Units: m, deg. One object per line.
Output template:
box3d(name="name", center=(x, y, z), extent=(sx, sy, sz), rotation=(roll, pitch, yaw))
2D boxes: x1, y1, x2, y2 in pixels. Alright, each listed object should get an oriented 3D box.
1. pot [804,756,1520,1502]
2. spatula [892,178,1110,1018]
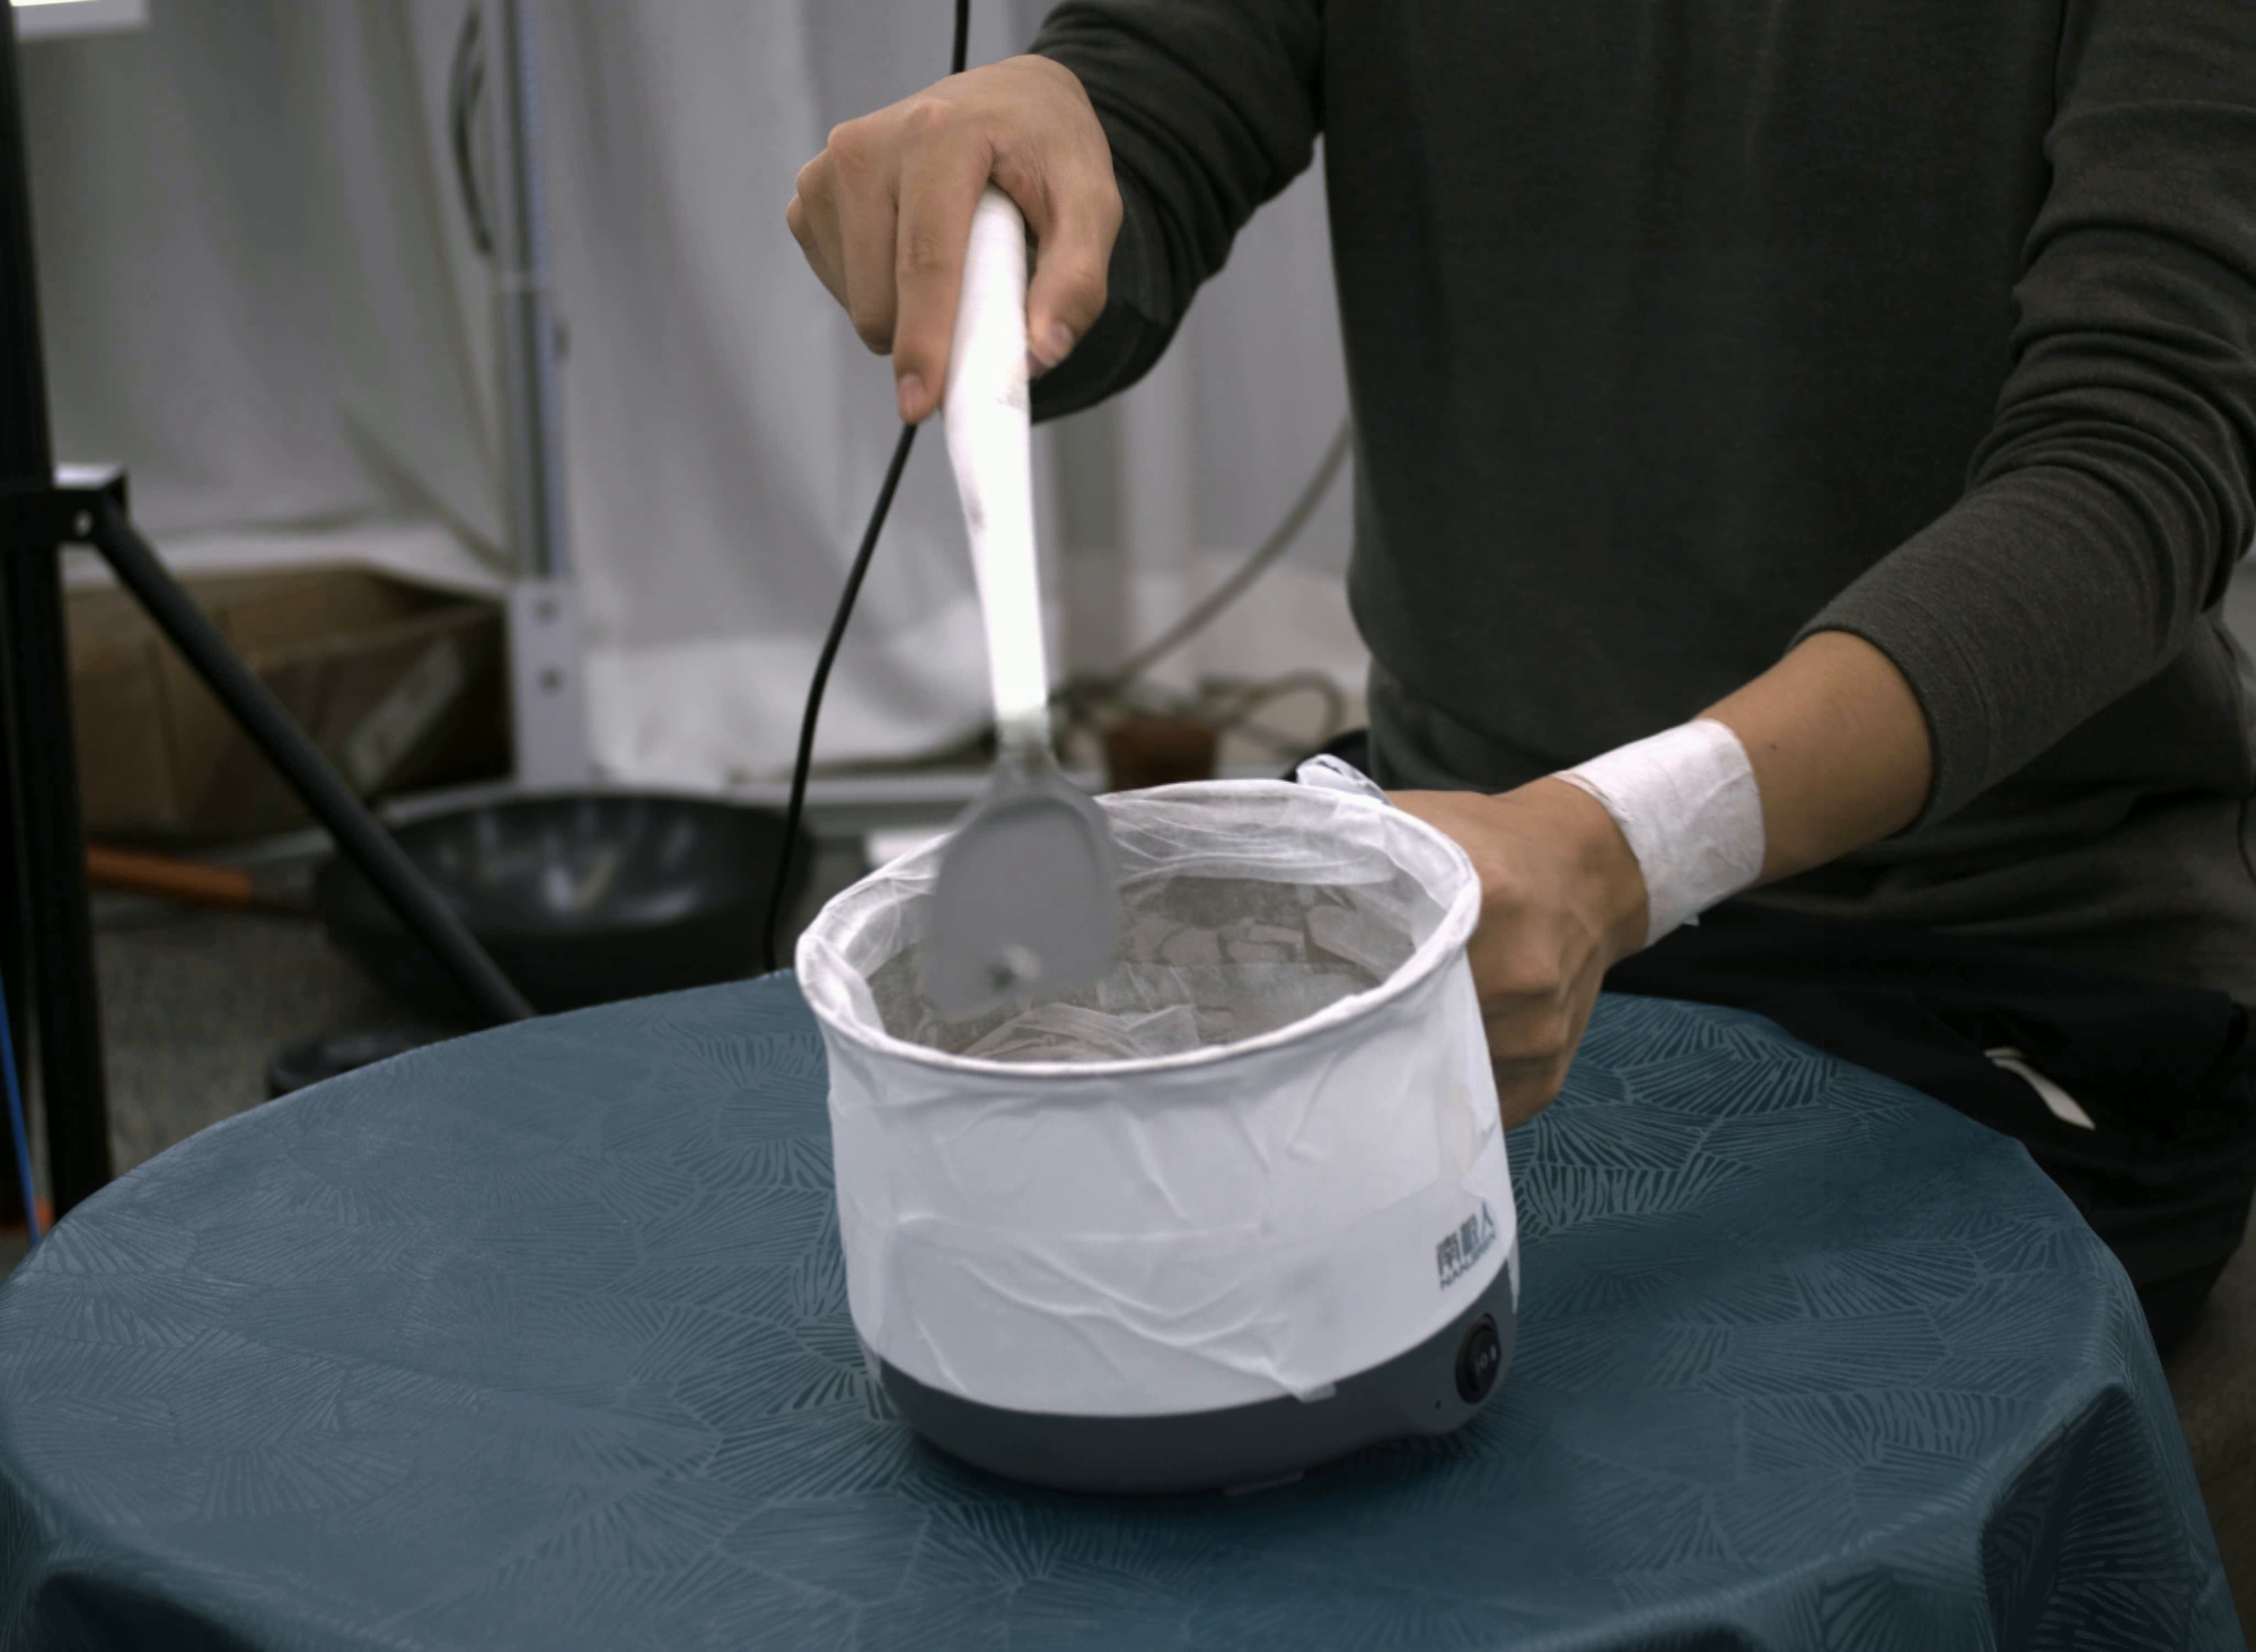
box3d(name="pot", center=(0.025, 0.072, 1.396), extent=(0.182, 0.136, 0.230), rotation=(7, 26, 31))
box3d(name="spatula", center=(-0.037, -0.063, 1.437), extent=(0.059, 0.032, 0.291), rotation=(-11, 50, 9))
